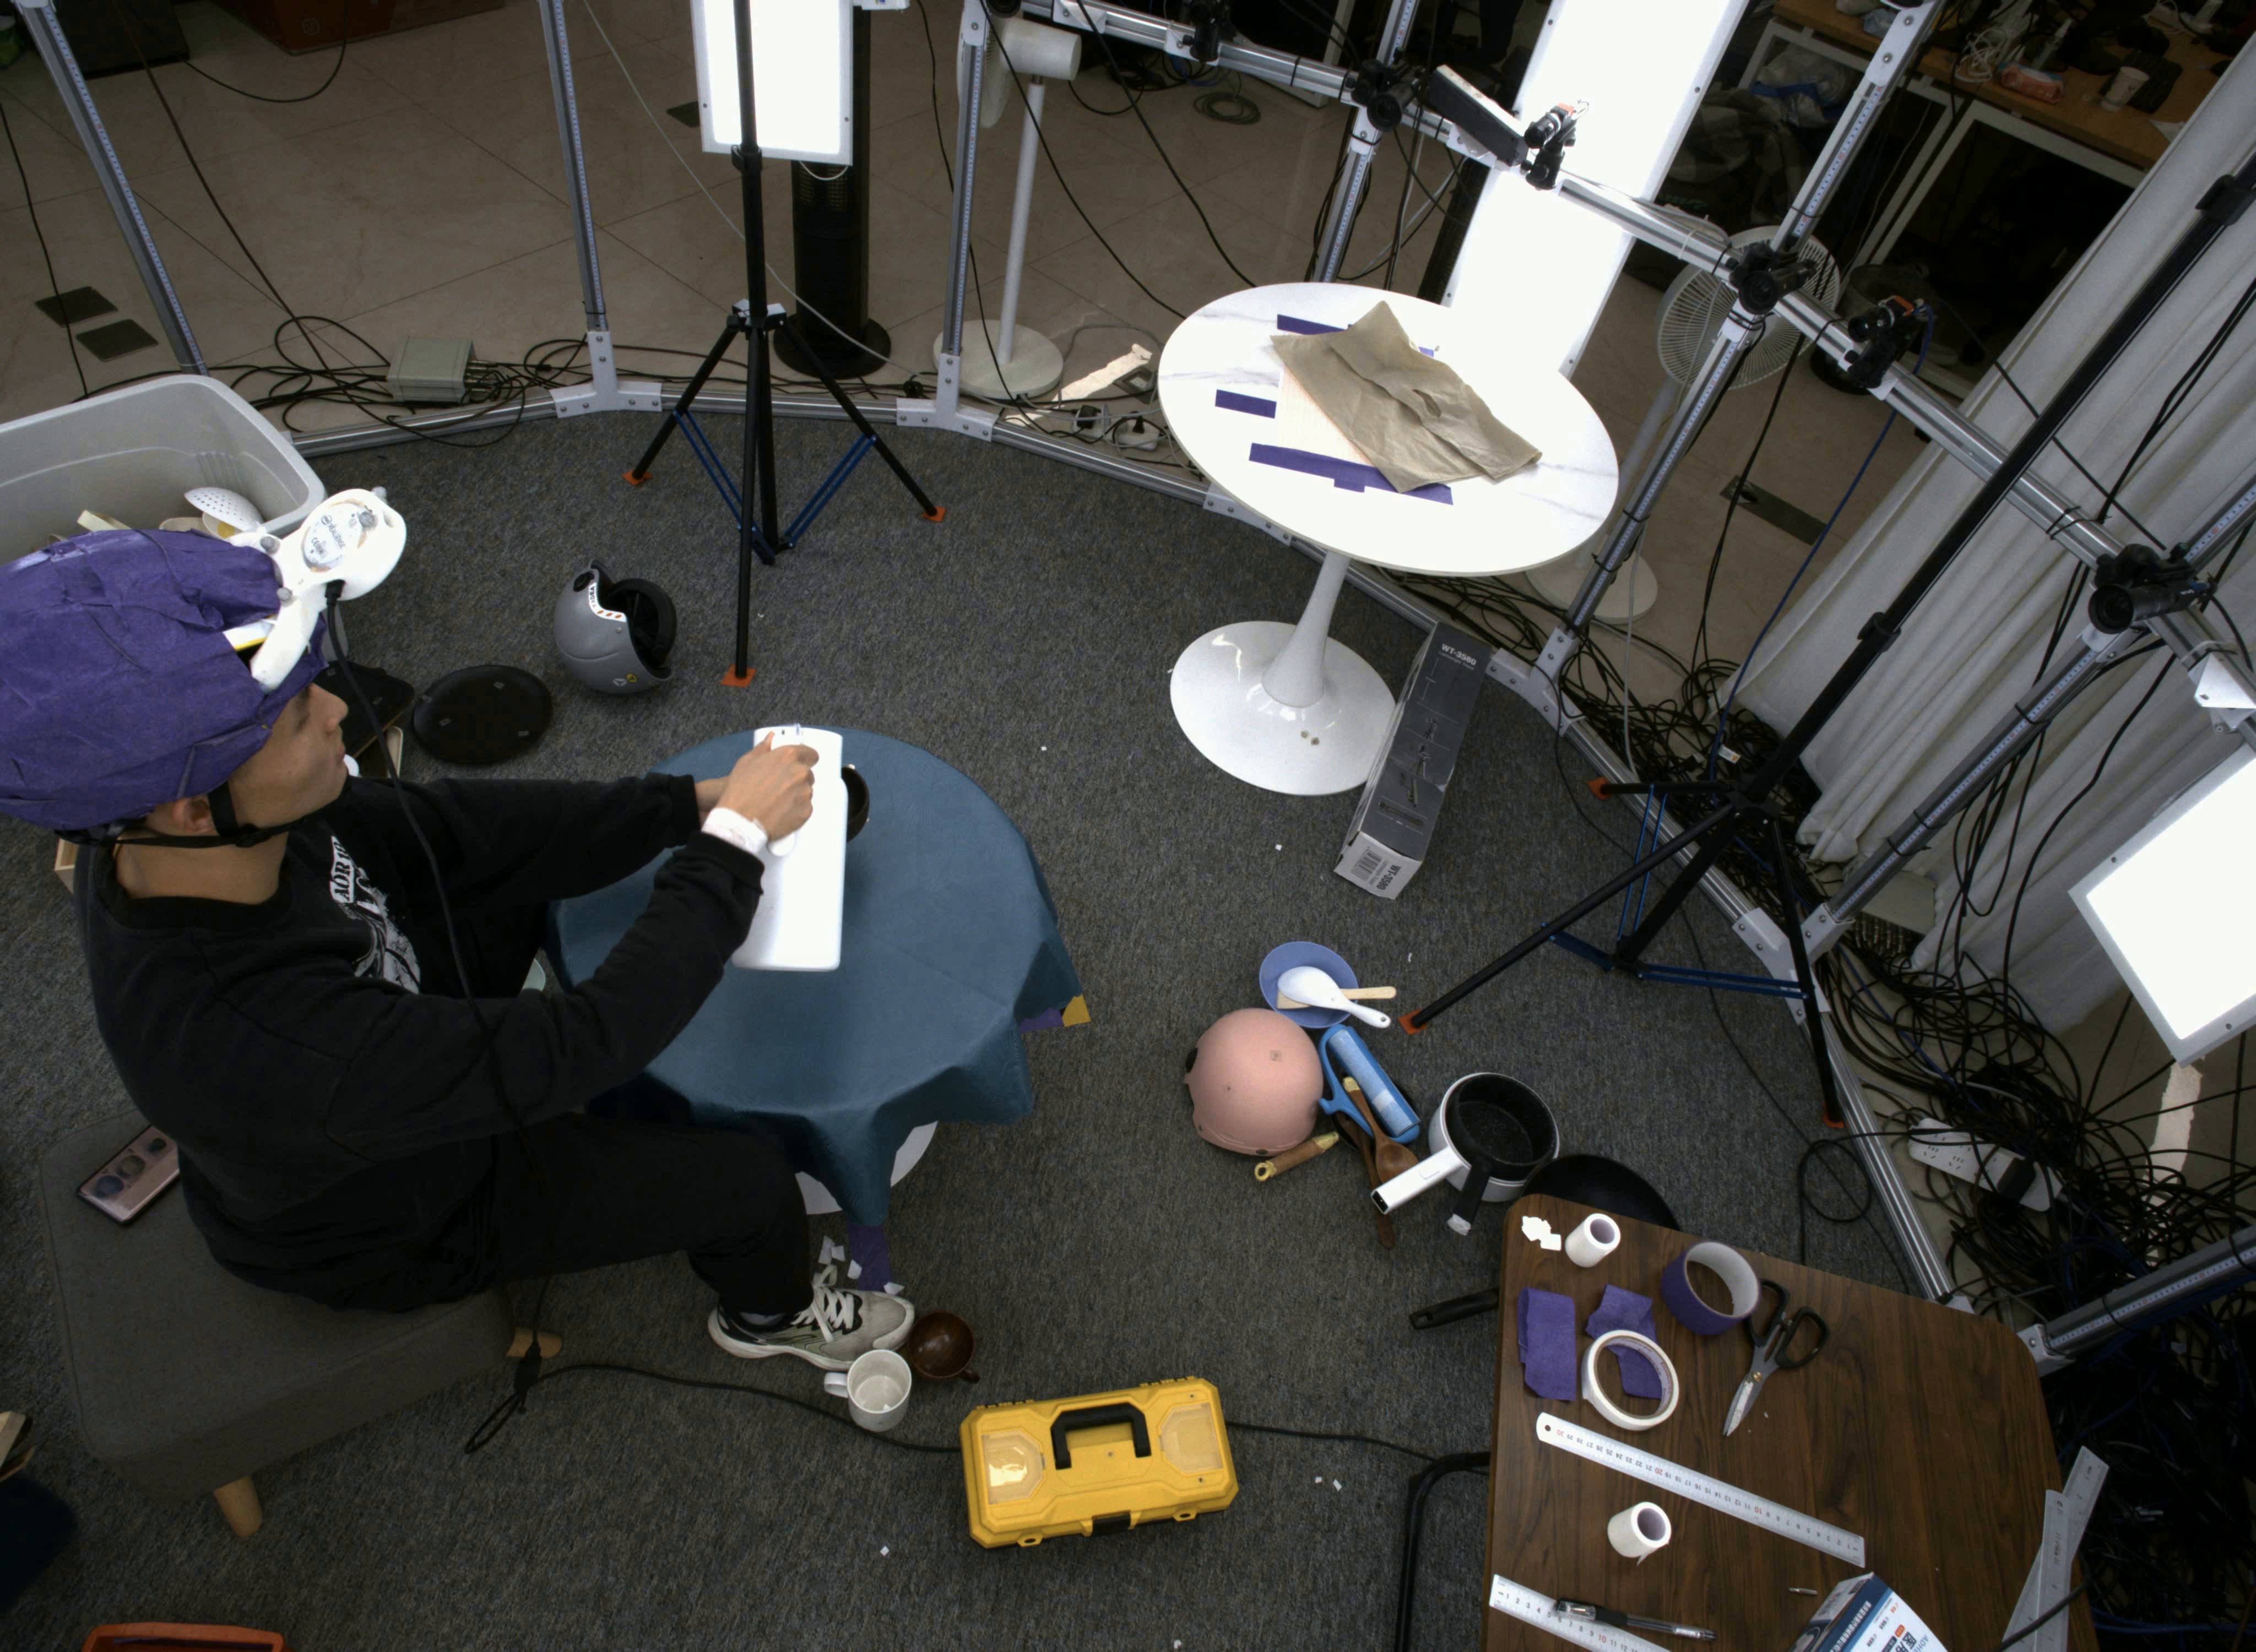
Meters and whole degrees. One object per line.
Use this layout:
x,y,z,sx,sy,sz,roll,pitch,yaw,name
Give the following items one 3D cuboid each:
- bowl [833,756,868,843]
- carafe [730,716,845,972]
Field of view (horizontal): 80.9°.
-0.387,-0.025,1.626,0.118,0.071,0.116,9,51,-10,bowl
-0.372,0.021,1.416,0.123,0.172,0.271,4,84,-8,carafe
